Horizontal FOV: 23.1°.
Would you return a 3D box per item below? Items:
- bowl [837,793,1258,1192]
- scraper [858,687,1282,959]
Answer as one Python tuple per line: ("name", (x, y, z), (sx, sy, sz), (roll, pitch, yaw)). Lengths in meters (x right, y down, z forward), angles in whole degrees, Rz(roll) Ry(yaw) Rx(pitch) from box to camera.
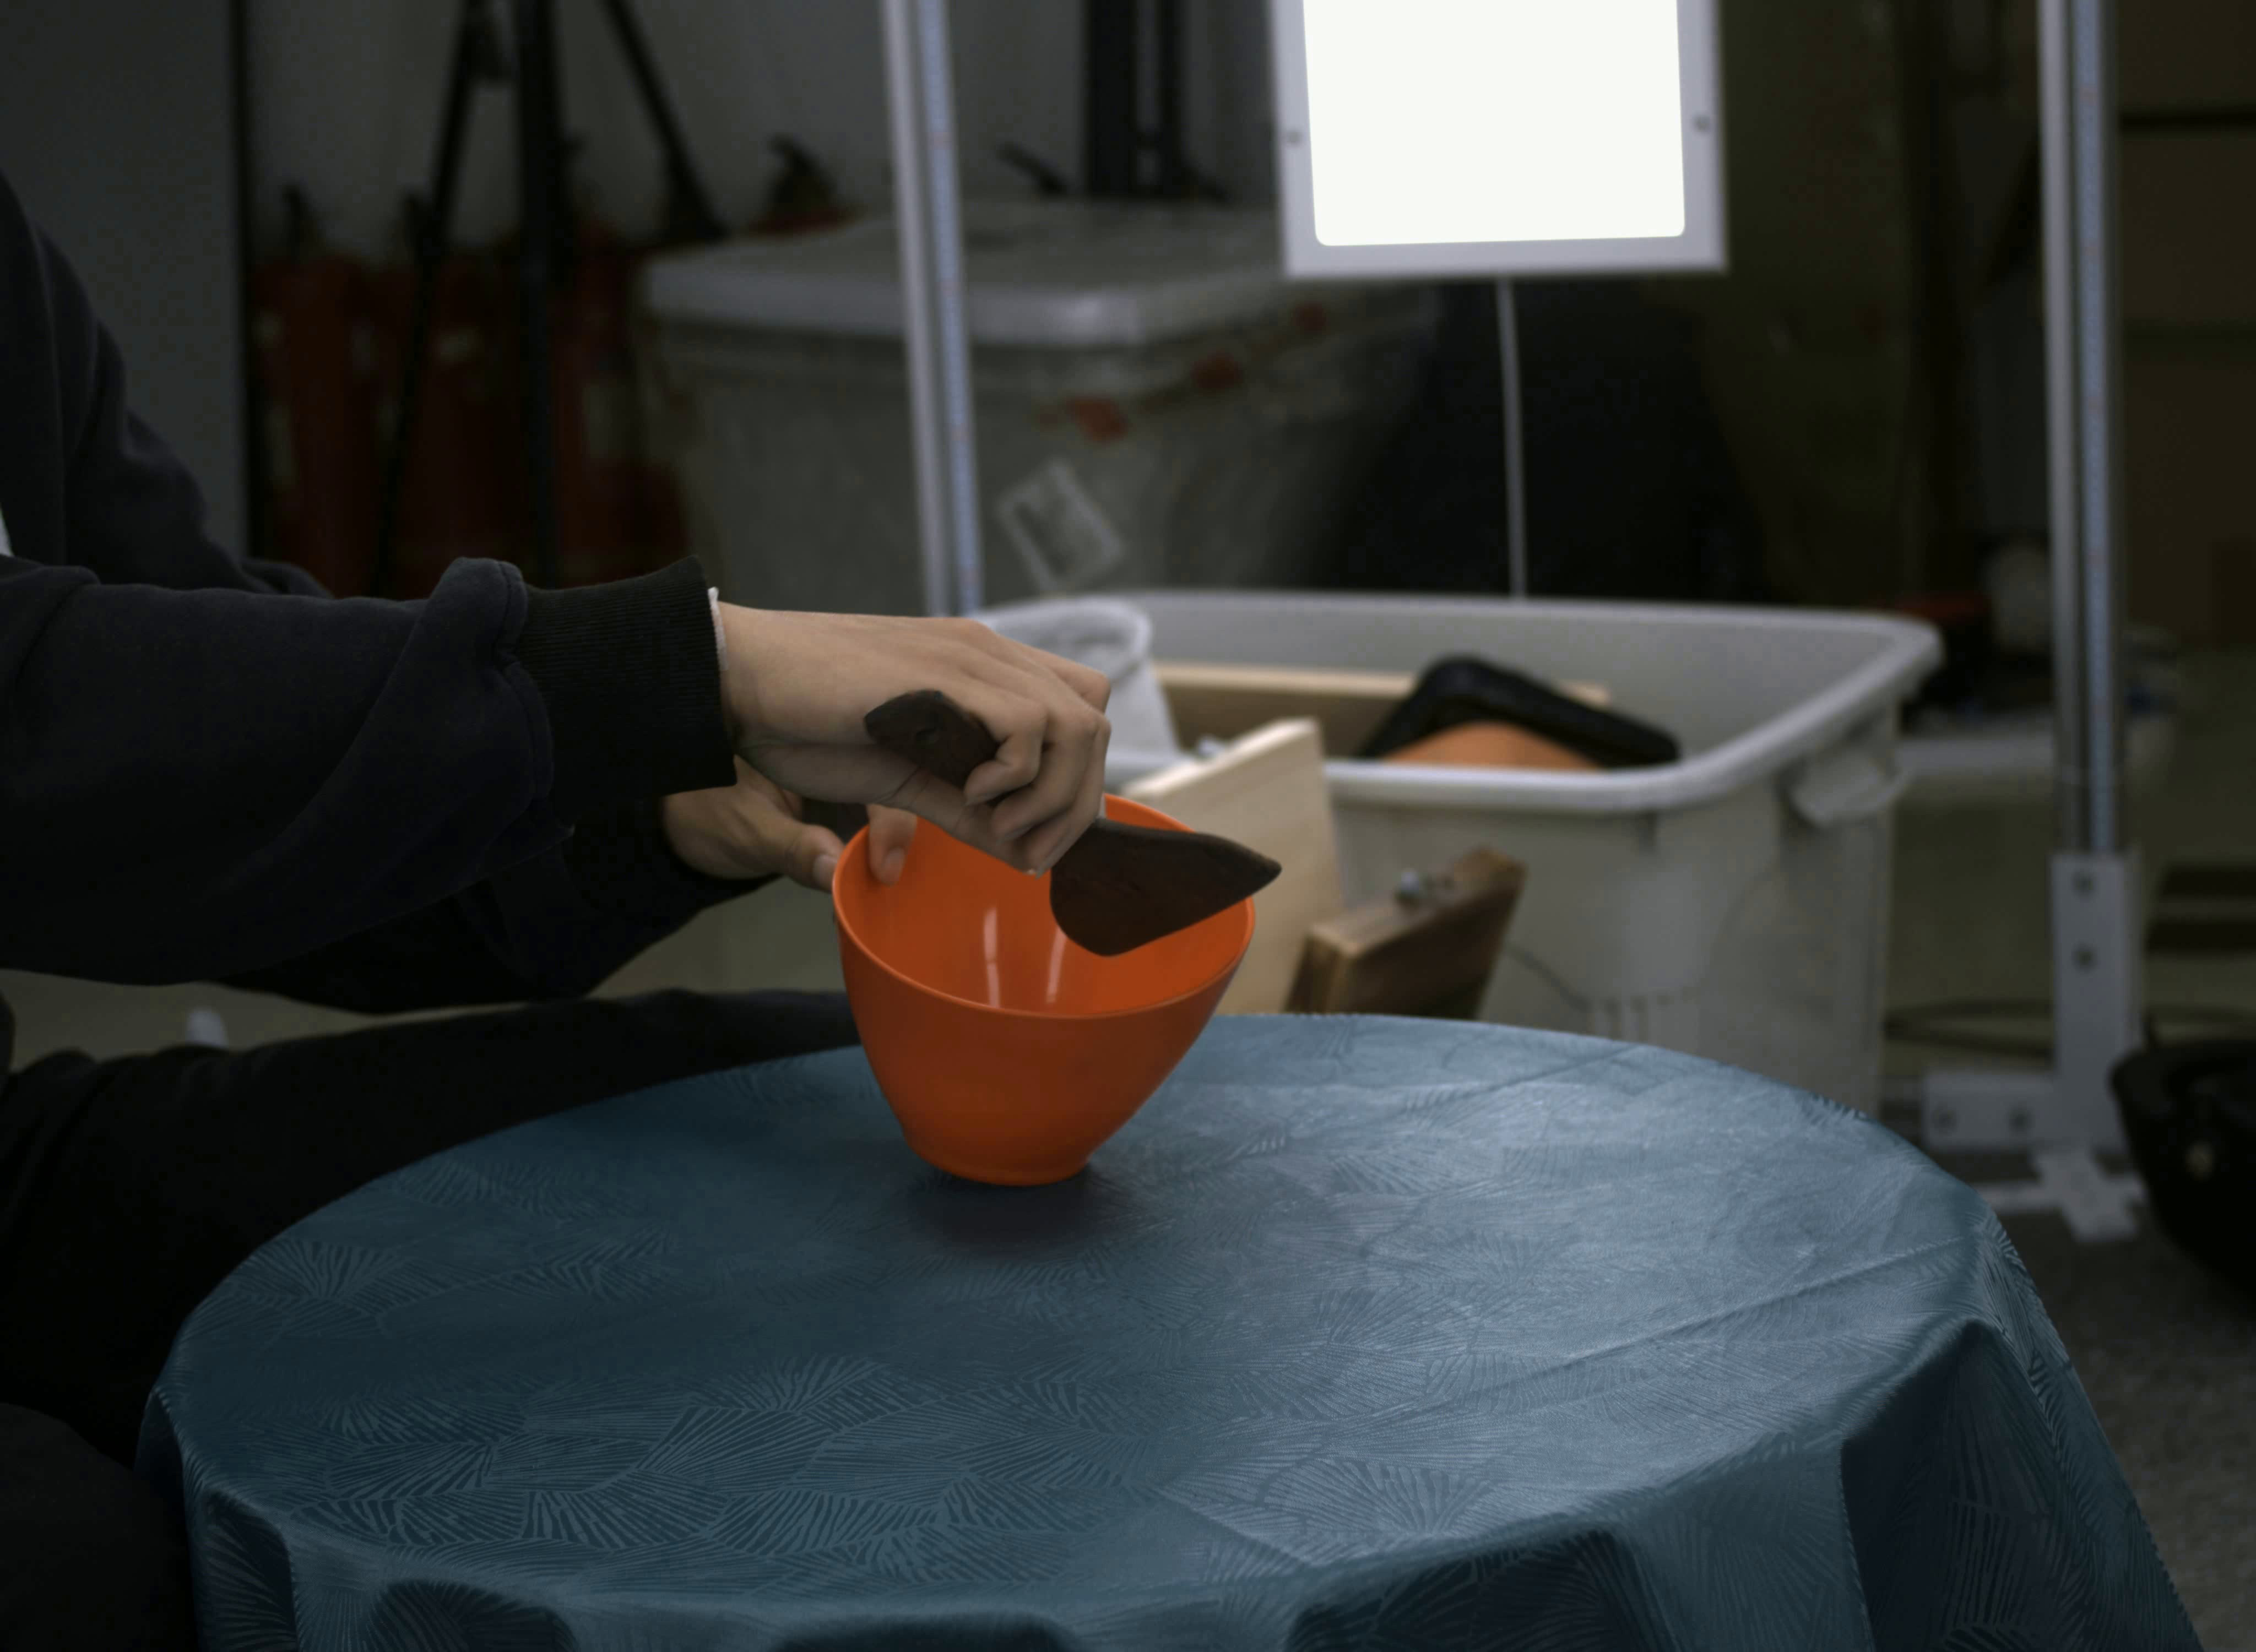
("bowl", (-0.034, 0.063, 1.927), (0.147, 0.105, 0.147), (7, 23, -4))
("scraper", (-0.025, -0.002, 1.809), (0.077, 0.011, 0.207), (-26, -32, 21))
